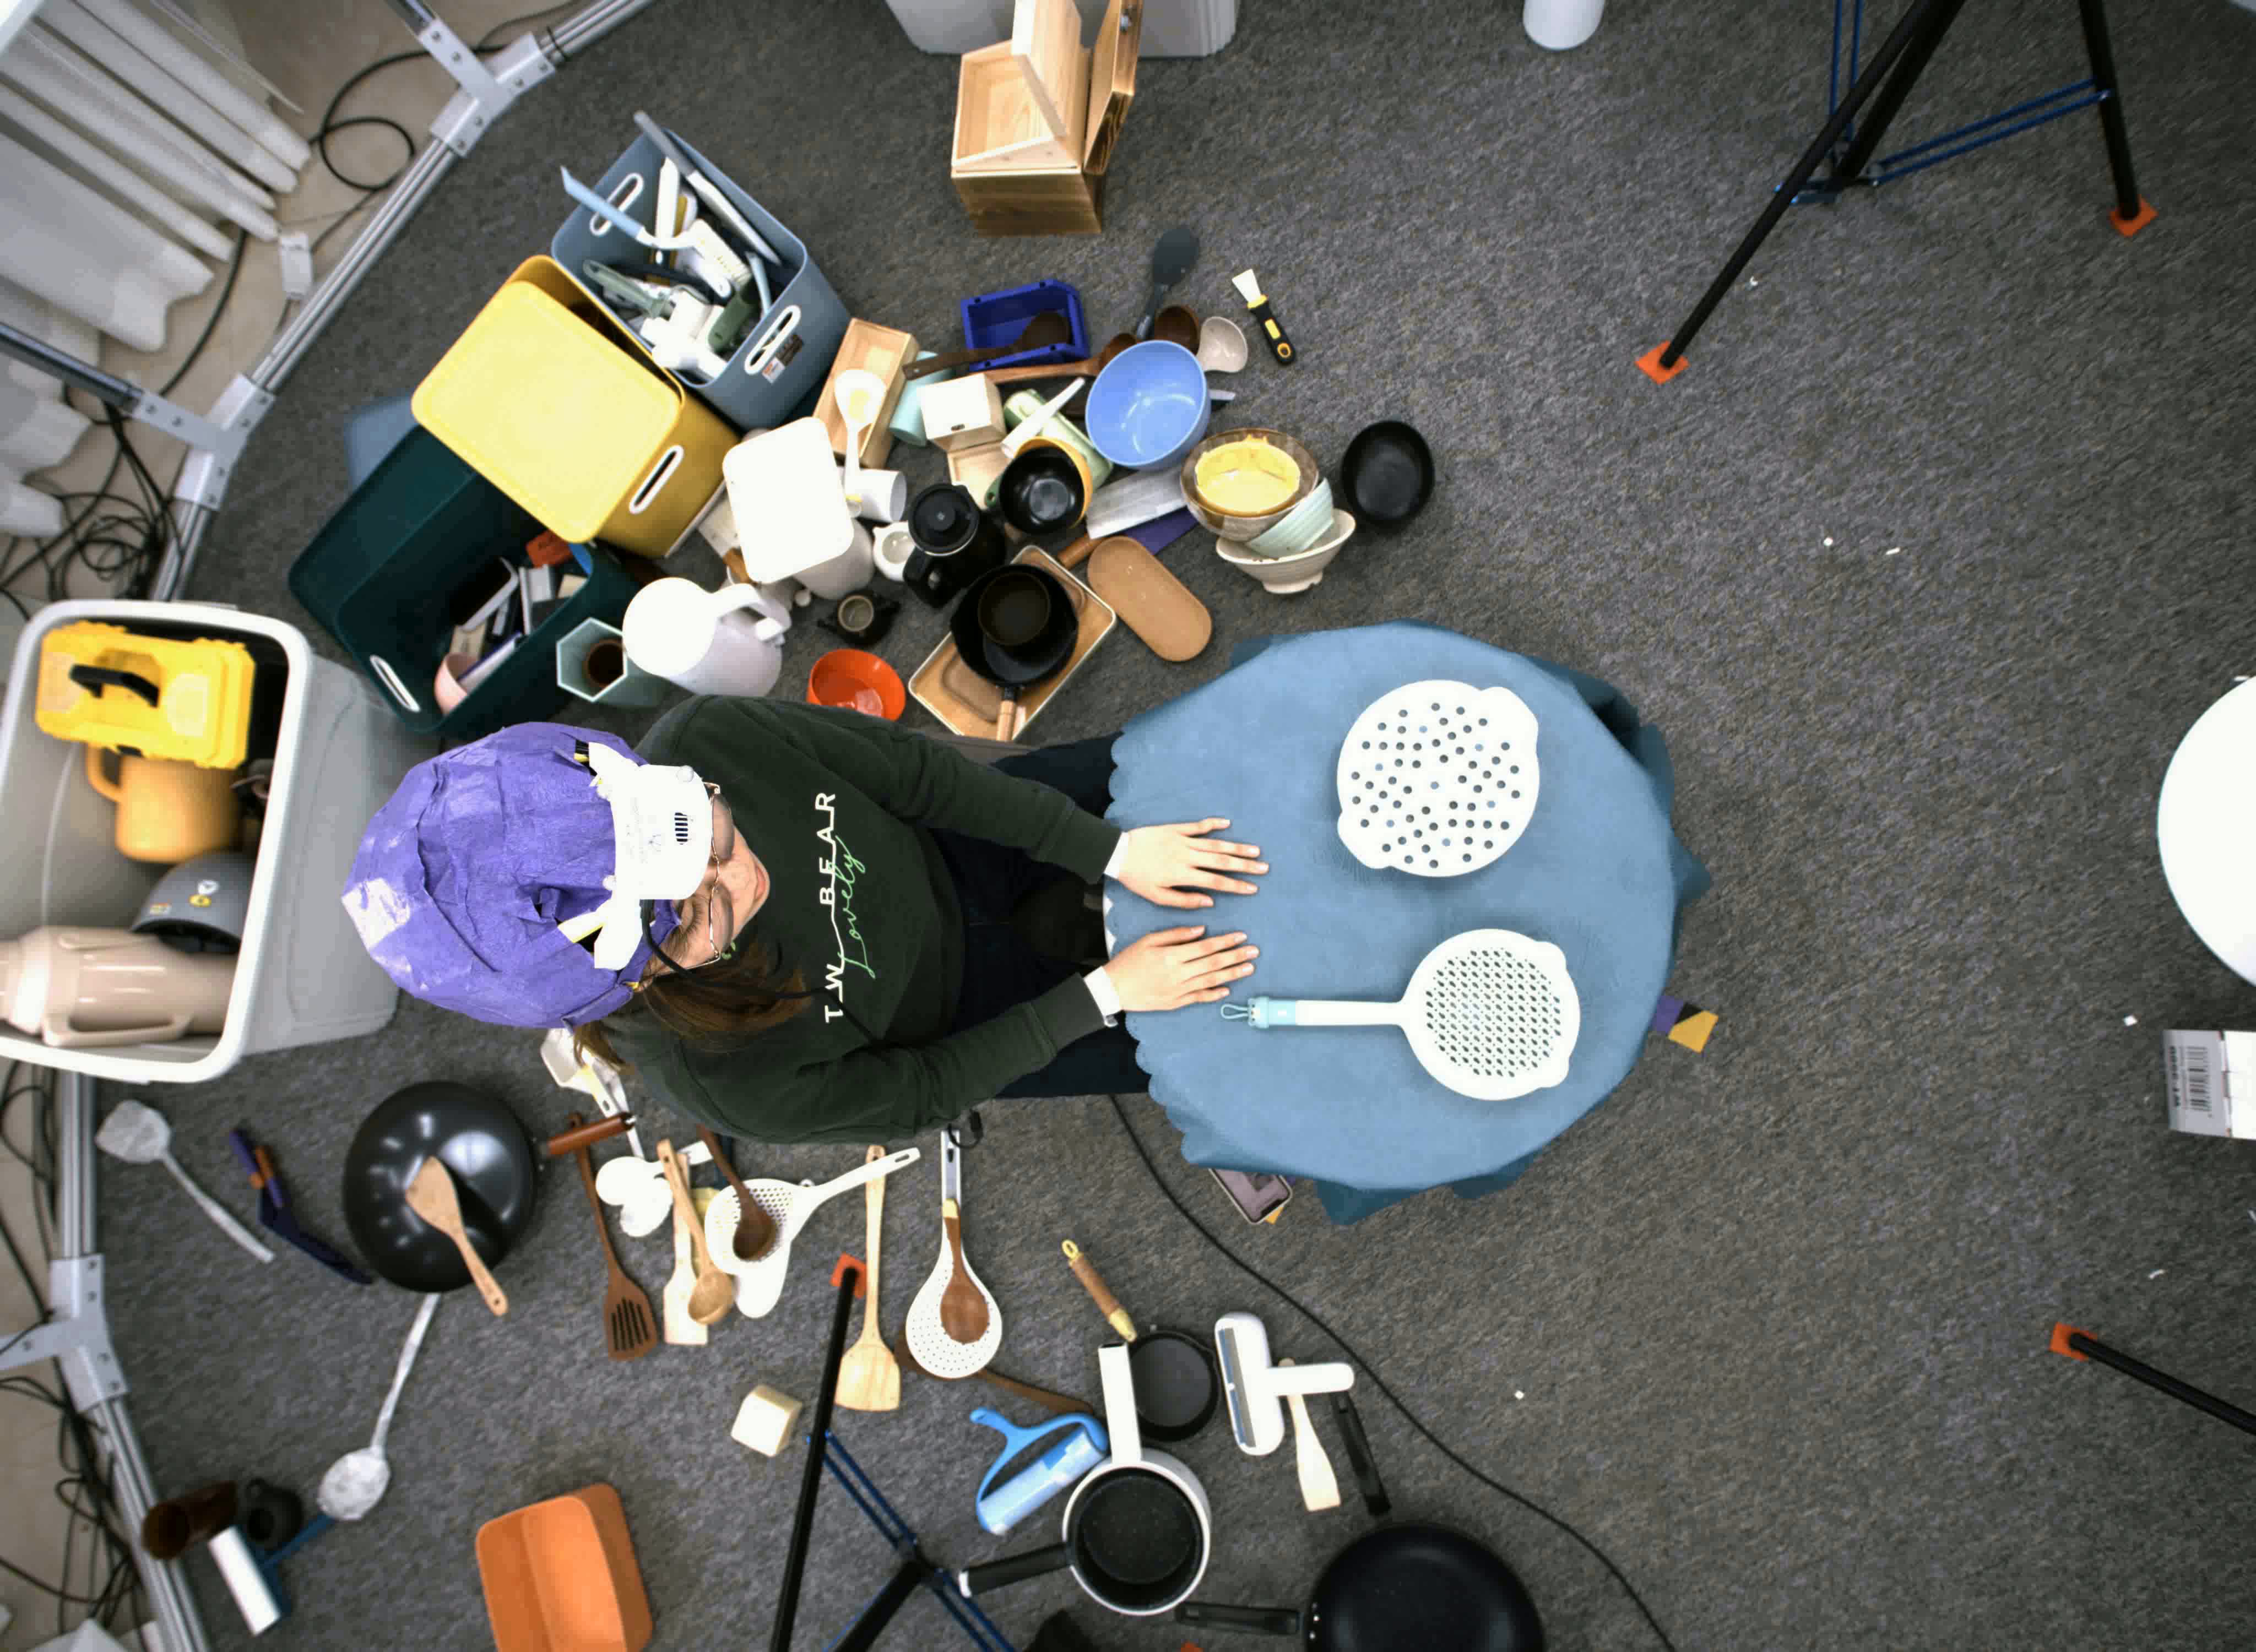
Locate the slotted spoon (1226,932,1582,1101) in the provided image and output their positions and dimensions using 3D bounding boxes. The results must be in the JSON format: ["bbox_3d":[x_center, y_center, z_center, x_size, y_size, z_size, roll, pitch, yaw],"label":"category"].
[{"bbox_3d":[0.277,0.193,1.422,0.360,0.075,0.168,-1,85,10],"label":"slotted spoon"}]

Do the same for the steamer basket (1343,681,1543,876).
[{"bbox_3d":[0.326,-0.048,1.430,0.231,0.069,0.201,-42,79,5],"label":"steamer basket"}]
